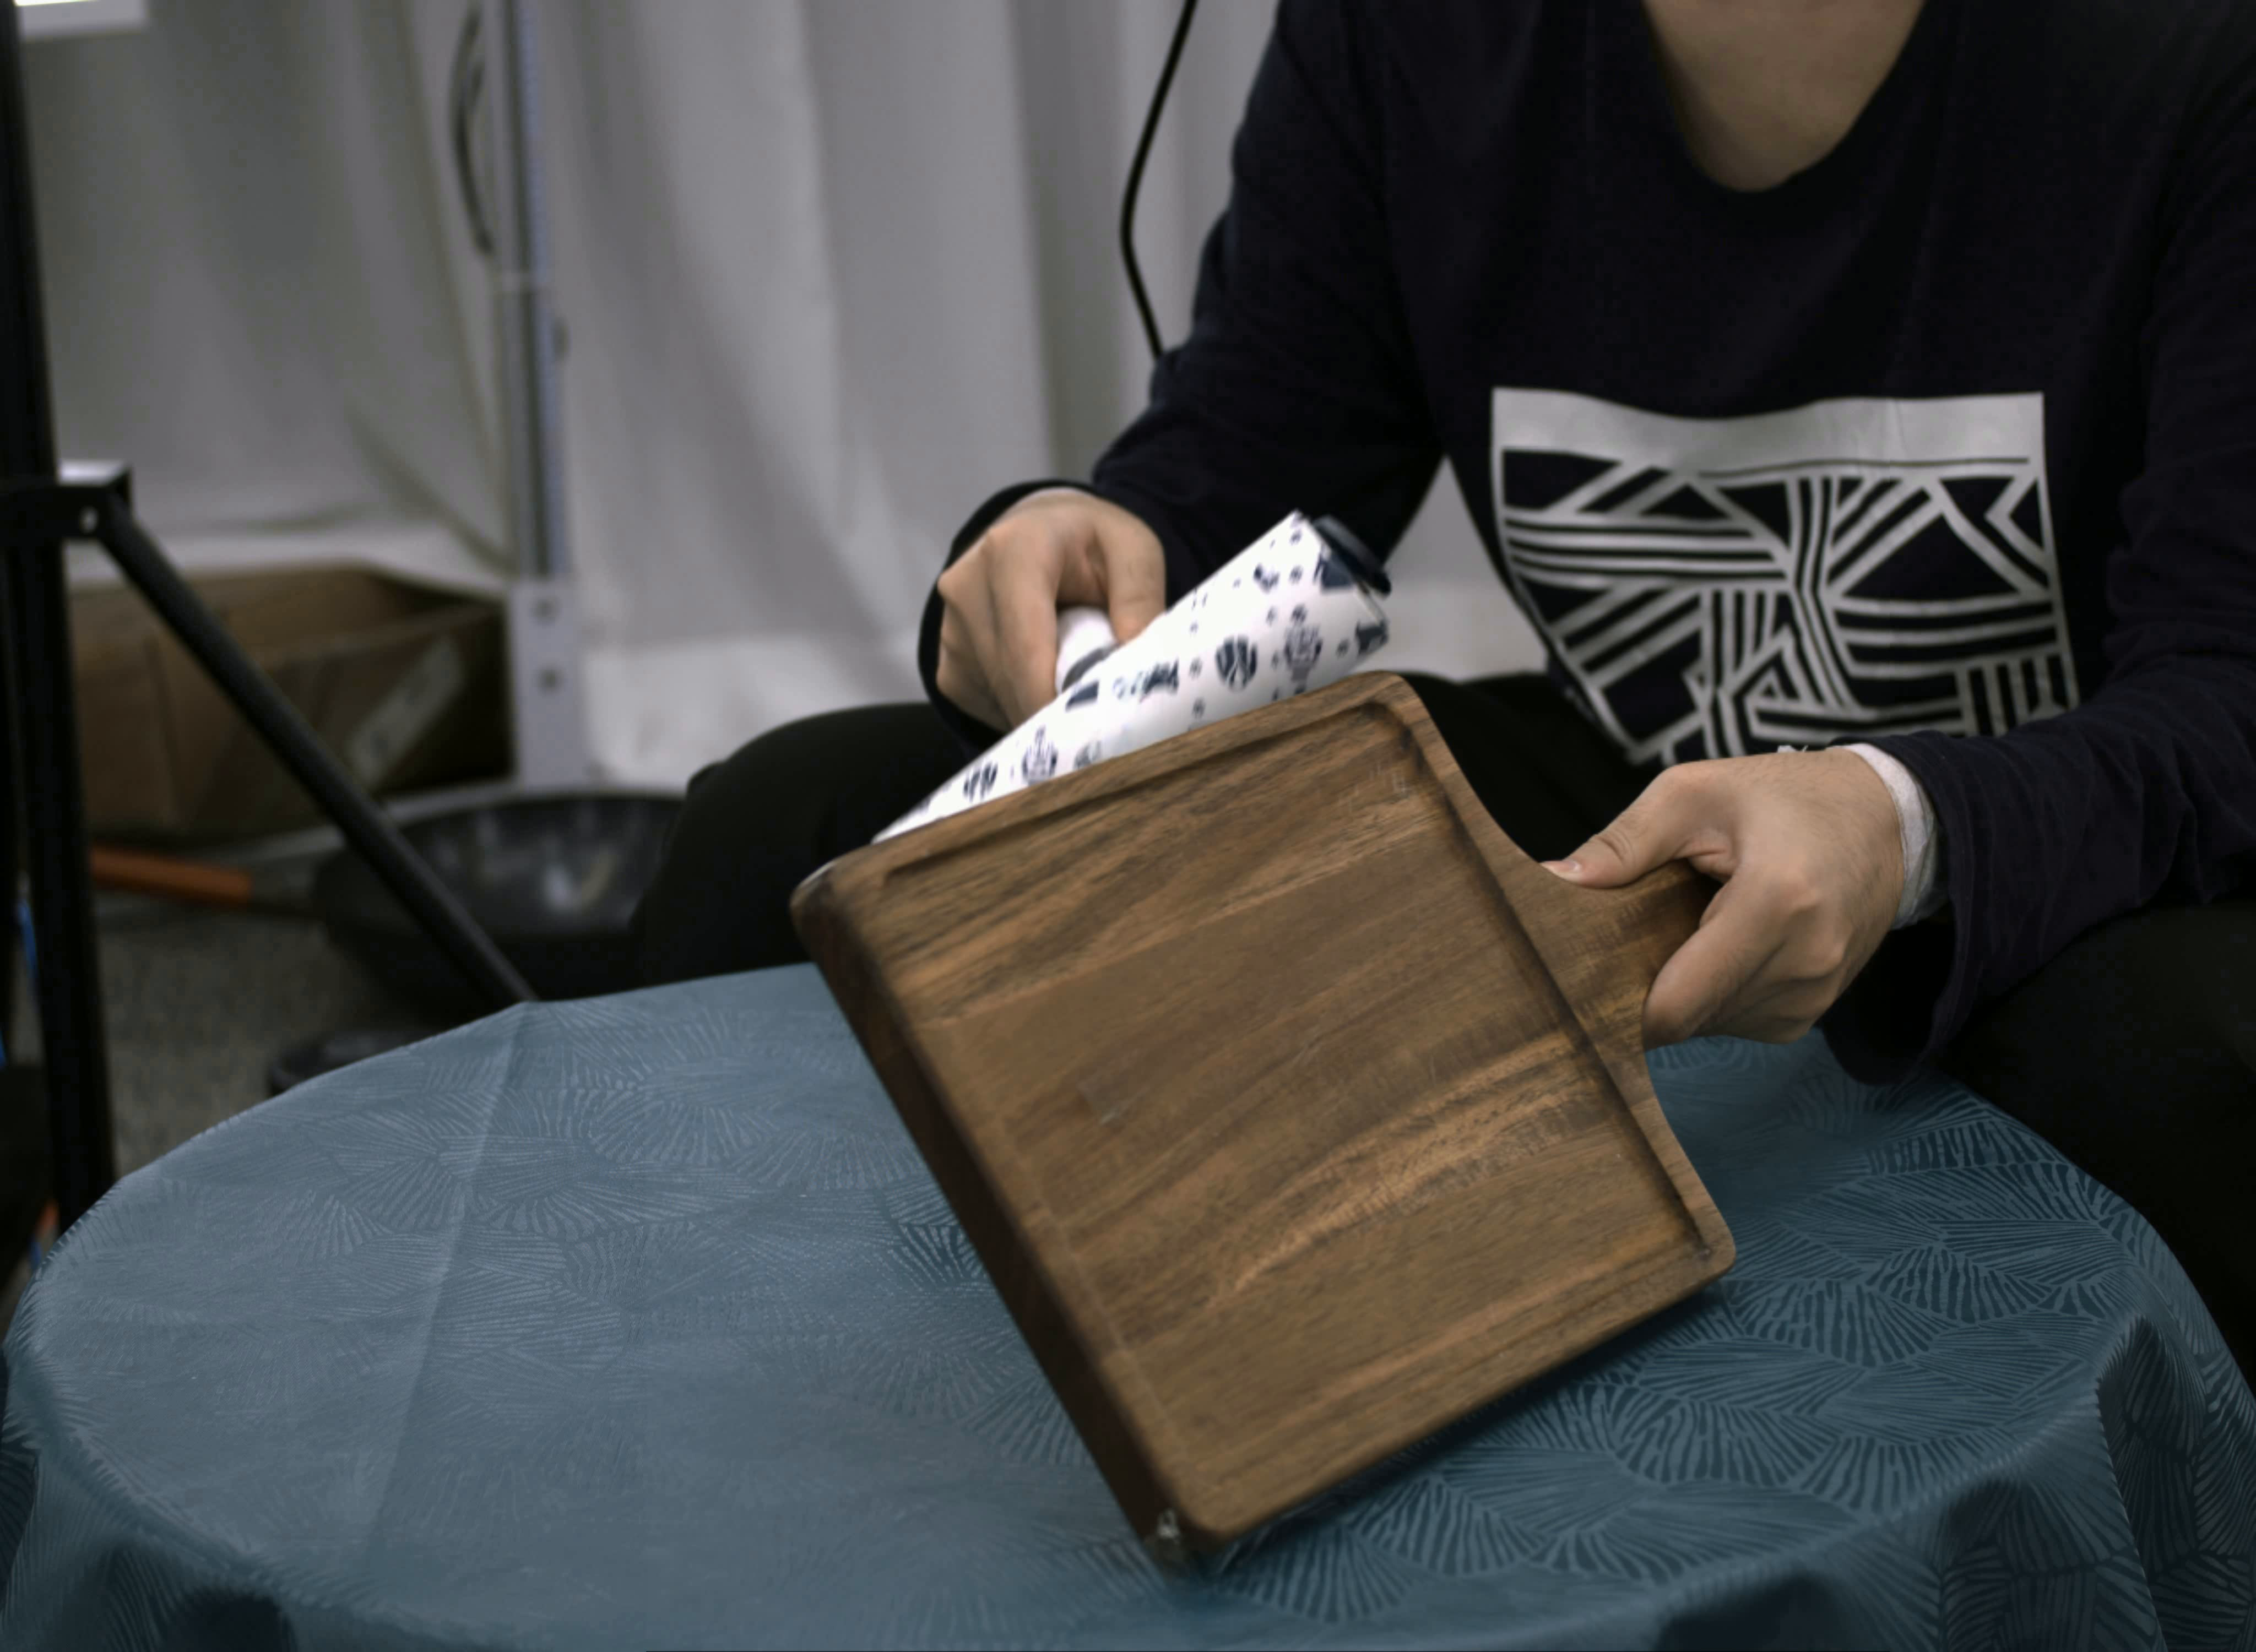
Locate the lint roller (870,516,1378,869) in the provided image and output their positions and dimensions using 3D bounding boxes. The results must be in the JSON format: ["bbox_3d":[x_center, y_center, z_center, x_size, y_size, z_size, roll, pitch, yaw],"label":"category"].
[{"bbox_3d":[-0.011,-0.039,1.658,0.176,0.050,0.249,-40,12,3],"label":"lint roller"}]

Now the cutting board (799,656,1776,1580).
[{"bbox_3d":[0.074,0.057,1.422,0.344,0.203,0.023,-20,-14,-48],"label":"cutting board"}]
